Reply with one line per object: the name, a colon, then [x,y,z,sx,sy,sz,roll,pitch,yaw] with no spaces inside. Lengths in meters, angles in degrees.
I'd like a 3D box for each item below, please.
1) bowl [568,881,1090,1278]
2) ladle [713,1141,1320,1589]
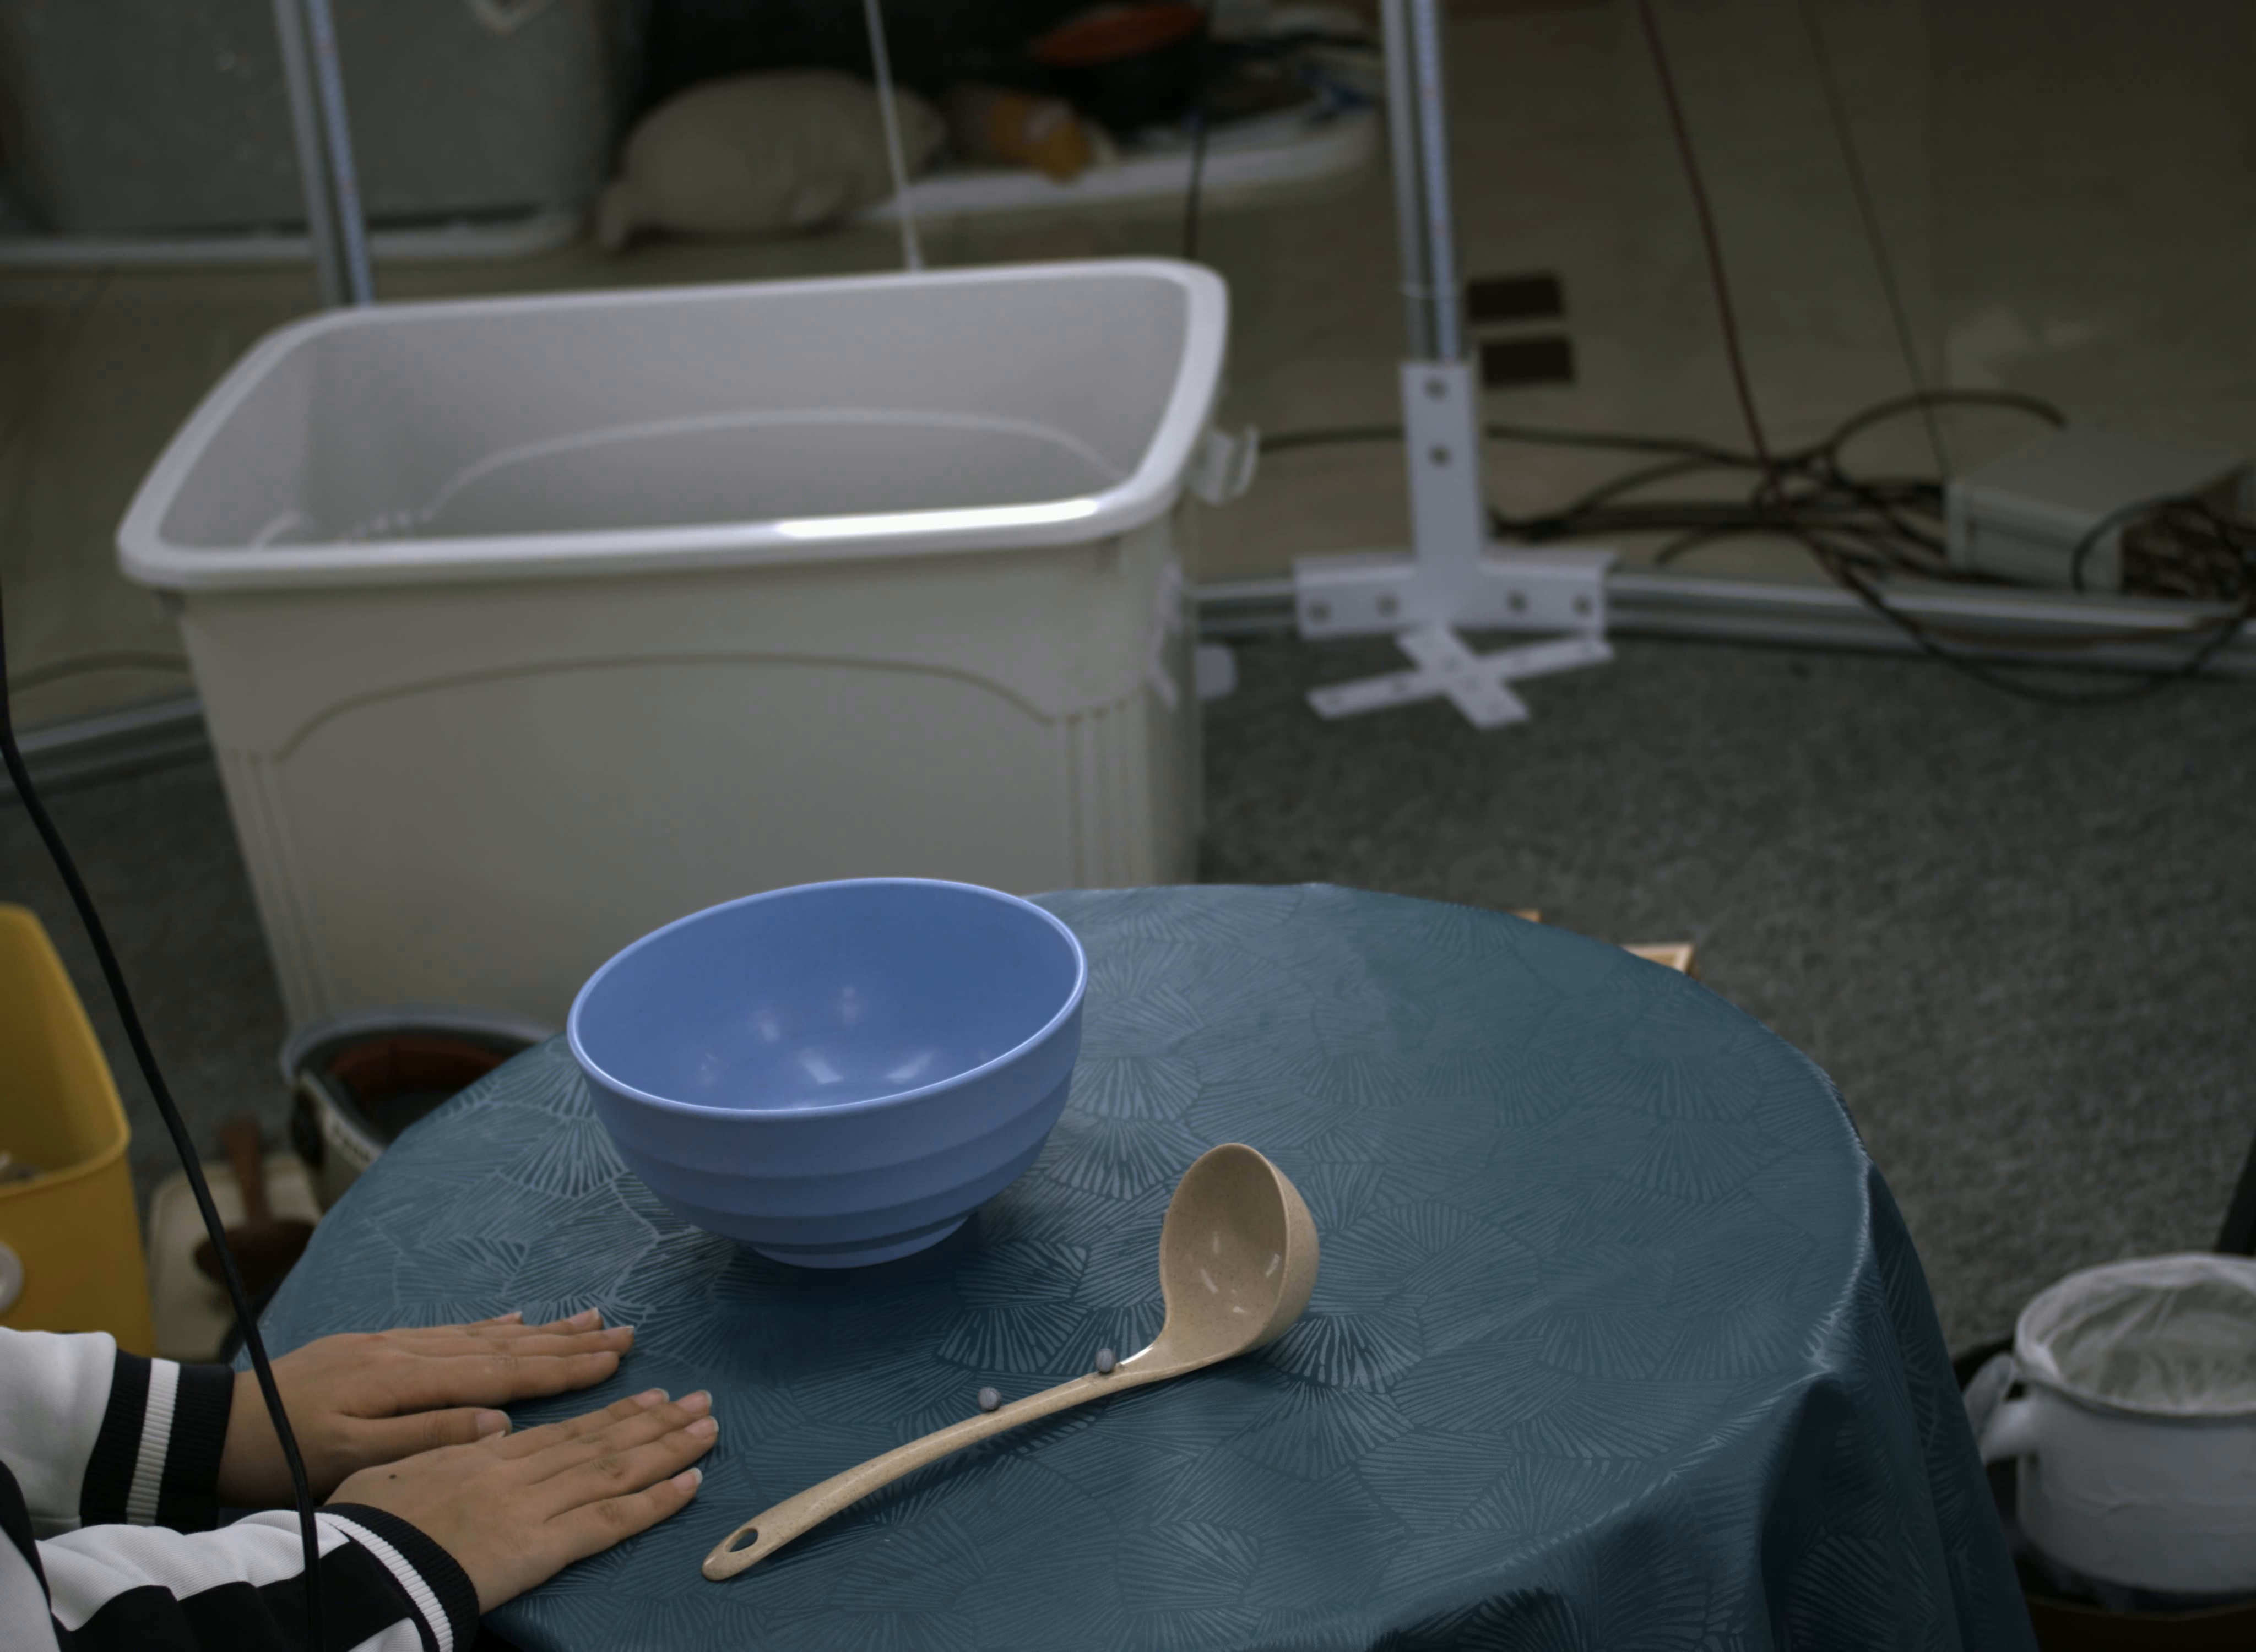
bowl: [-0.107,0.107,2.139,0.196,0.097,0.193,-5,27,3]
ladle: [-0.043,0.184,1.976,0.253,0.074,0.071,-23,30,-30]
